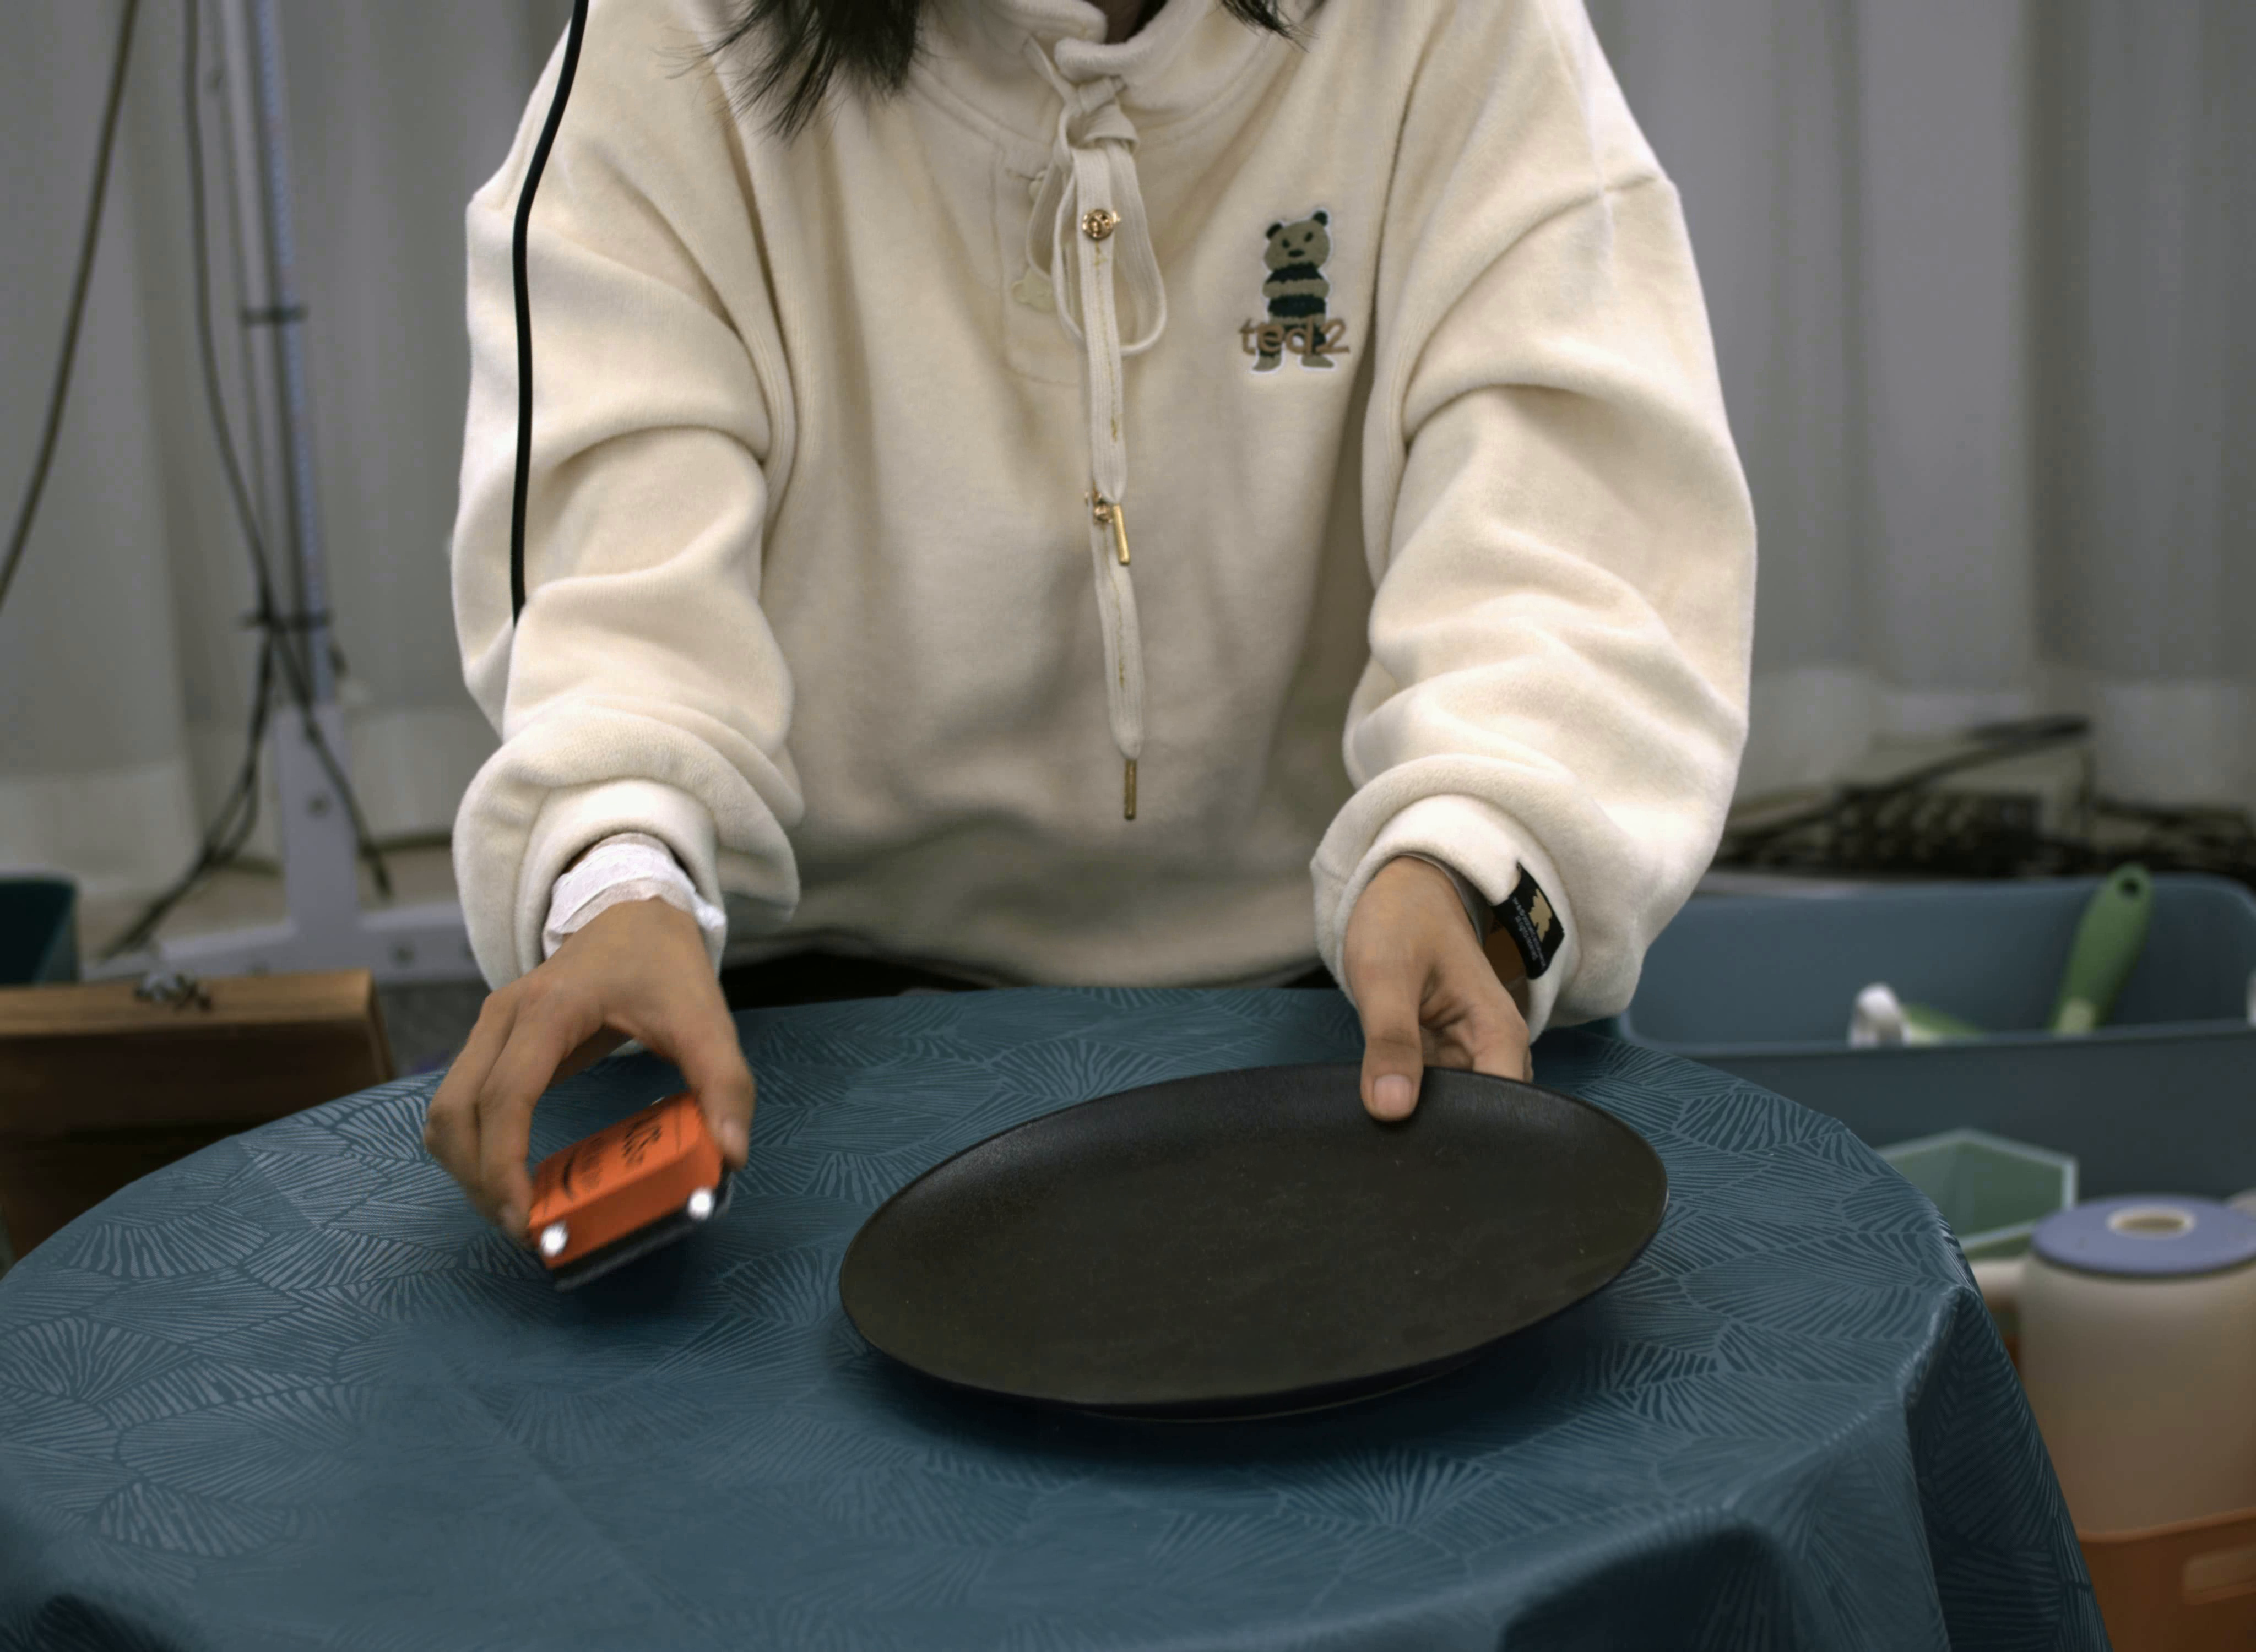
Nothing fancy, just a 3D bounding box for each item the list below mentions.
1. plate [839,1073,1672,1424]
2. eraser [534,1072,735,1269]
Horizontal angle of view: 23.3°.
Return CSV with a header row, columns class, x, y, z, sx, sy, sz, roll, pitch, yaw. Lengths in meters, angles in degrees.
class,x,y,z,sx,sy,sz,roll,pitch,yaw
plate,0.038,0.125,1.591,0.243,0.023,0.246,-7,18,2
eraser,-0.150,0.104,1.663,0.059,0.023,0.108,-28,9,-2
